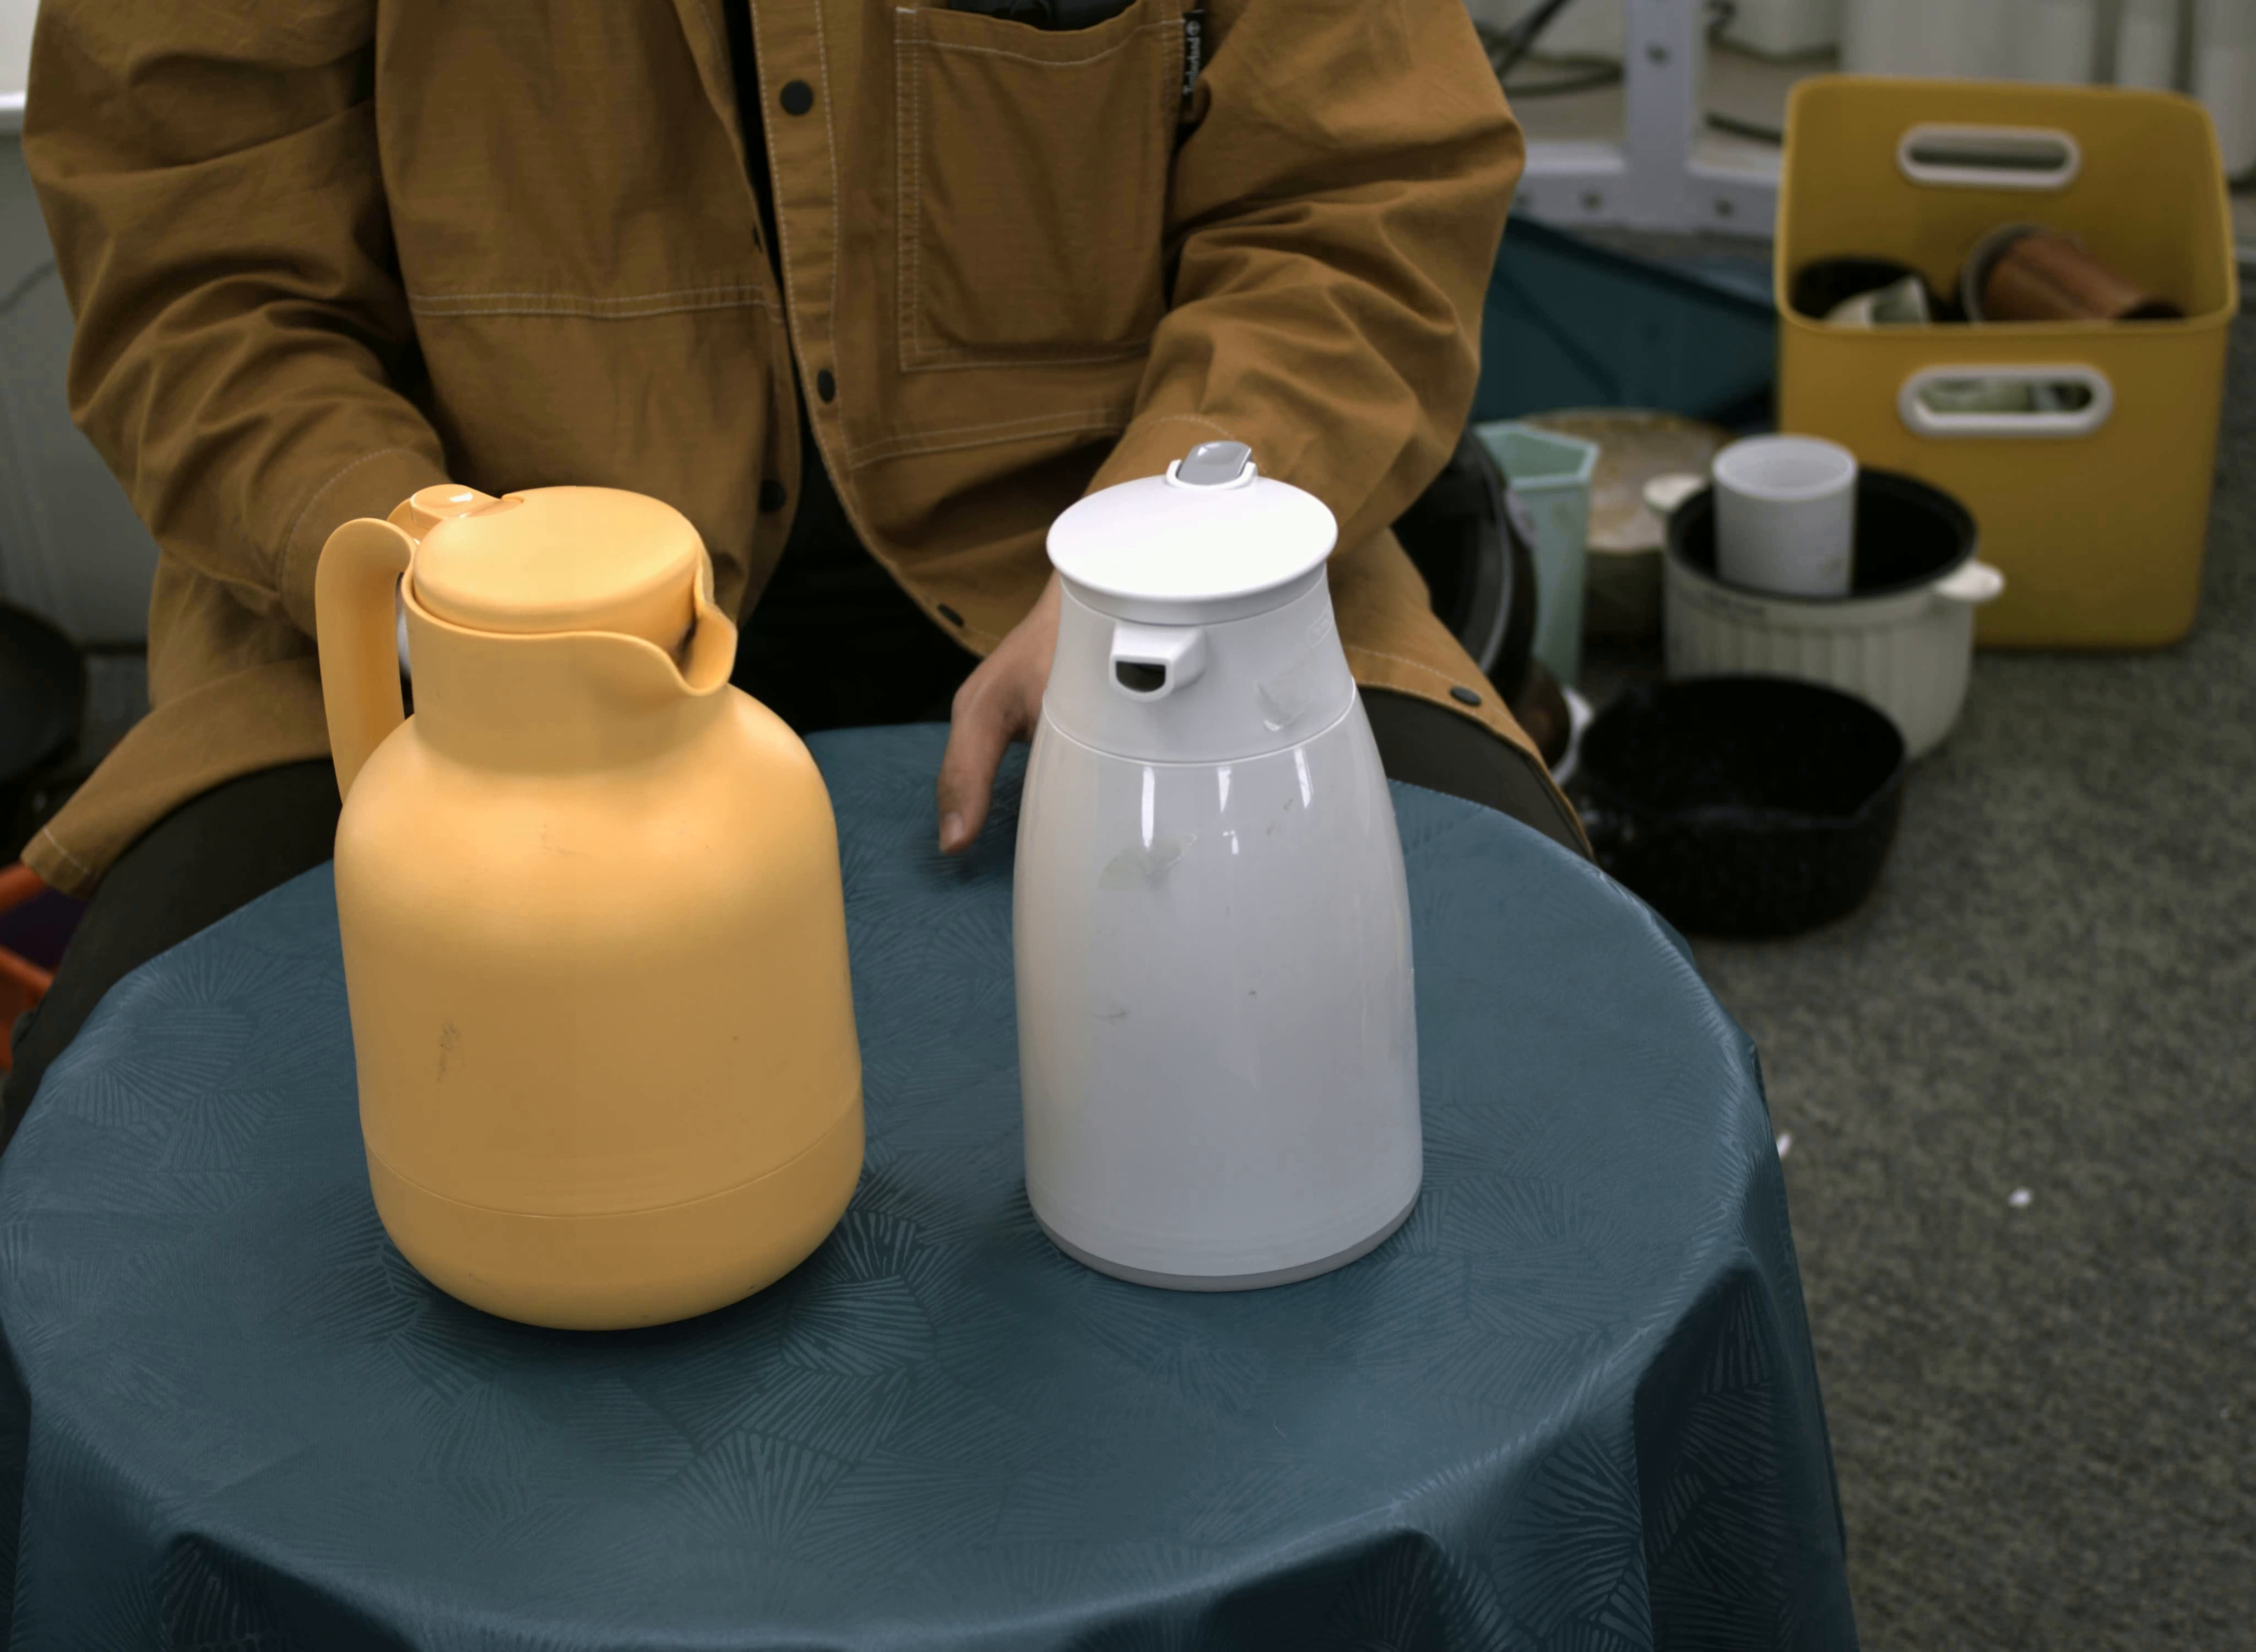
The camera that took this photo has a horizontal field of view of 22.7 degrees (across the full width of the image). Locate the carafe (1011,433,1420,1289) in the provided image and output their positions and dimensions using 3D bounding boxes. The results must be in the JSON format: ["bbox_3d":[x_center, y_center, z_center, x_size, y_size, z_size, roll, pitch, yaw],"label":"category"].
[{"bbox_3d":[0.029,0.000,1.823,0.131,0.246,0.170,4,27,15],"label":"carafe"}]

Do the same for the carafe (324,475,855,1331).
[{"bbox_3d":[-0.184,0.014,1.806,0.165,0.258,0.202,-21,33,-36],"label":"carafe"}]
